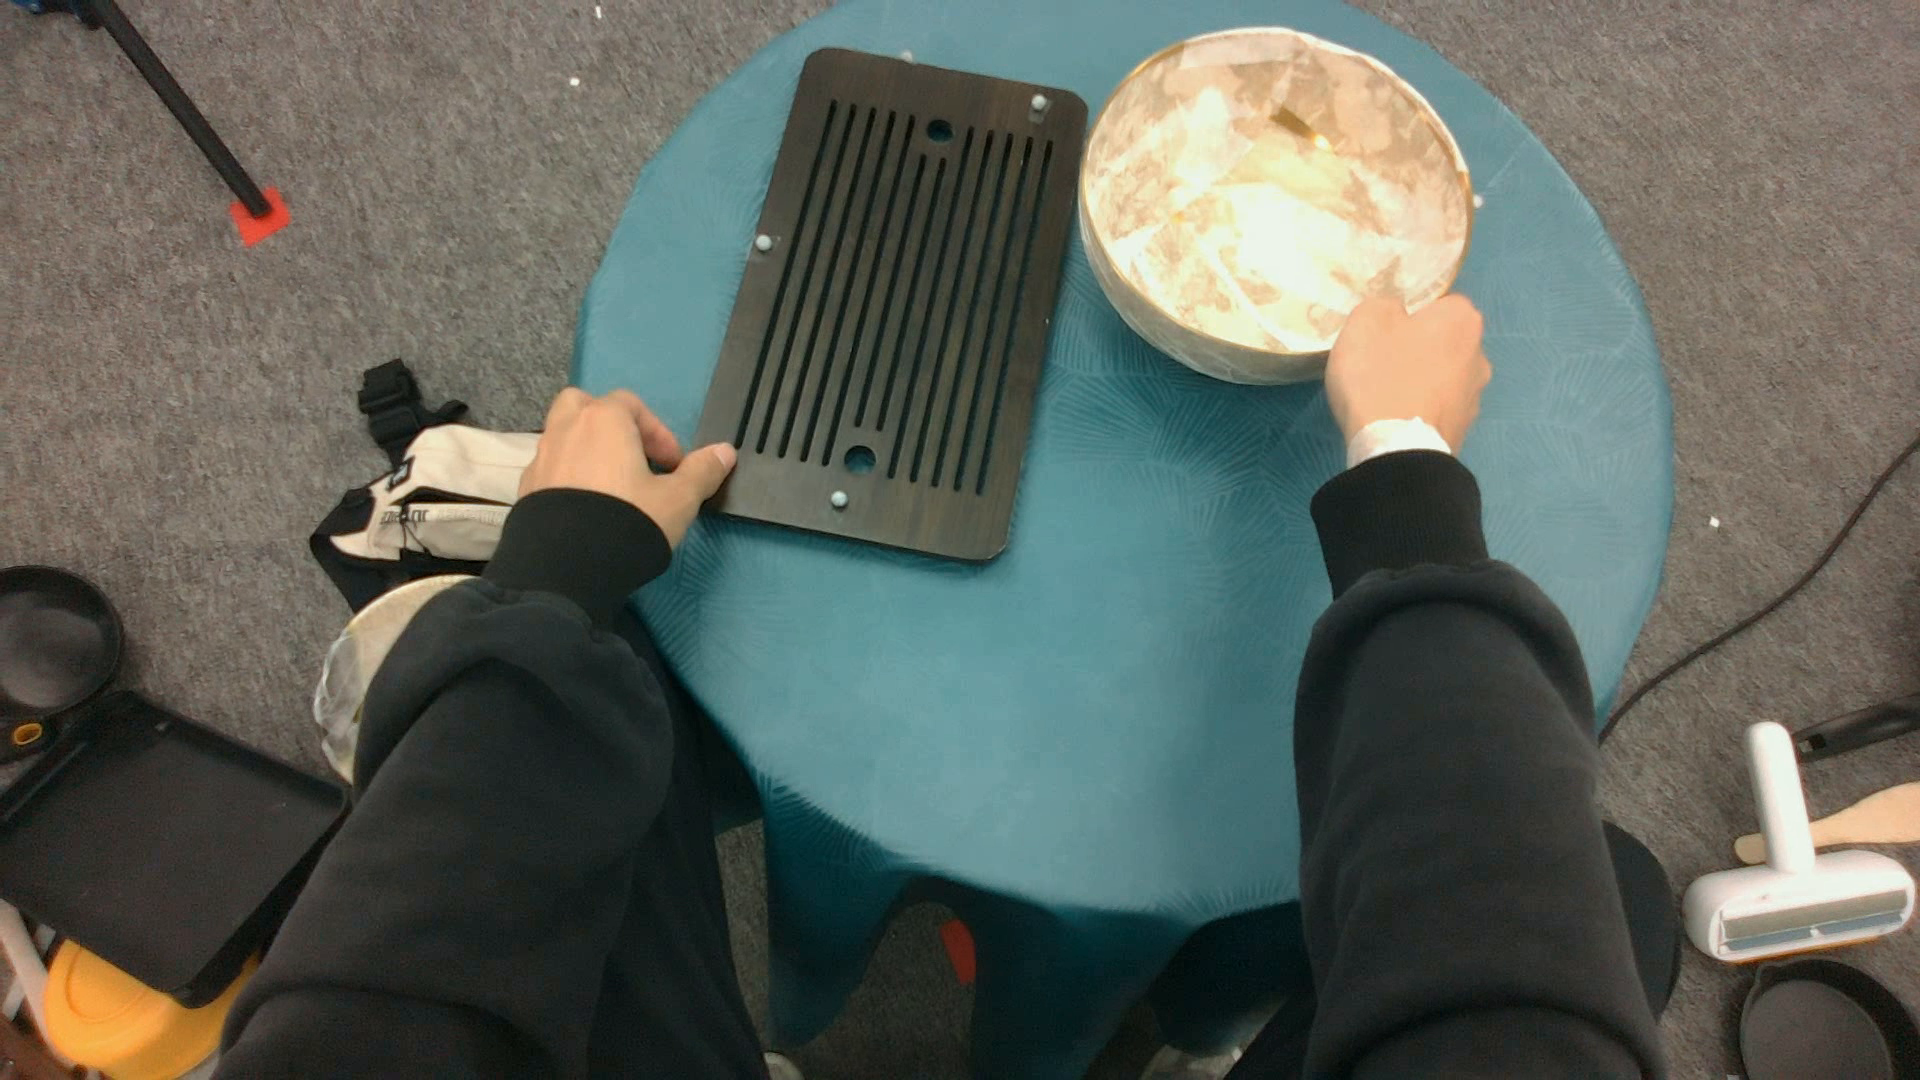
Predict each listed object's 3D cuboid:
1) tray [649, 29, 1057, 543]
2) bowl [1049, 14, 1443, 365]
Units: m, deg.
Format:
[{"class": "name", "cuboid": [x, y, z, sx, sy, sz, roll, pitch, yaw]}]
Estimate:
[{"class": "tray", "cuboid": [-0.051, -0.148, 0.757, 0.170, 0.018, 0.307, 11, 67, 1]}, {"class": "bowl", "cuboid": [0.140, -0.172, 0.740, 0.215, 0.094, 0.215, 2, 67, -5]}]
